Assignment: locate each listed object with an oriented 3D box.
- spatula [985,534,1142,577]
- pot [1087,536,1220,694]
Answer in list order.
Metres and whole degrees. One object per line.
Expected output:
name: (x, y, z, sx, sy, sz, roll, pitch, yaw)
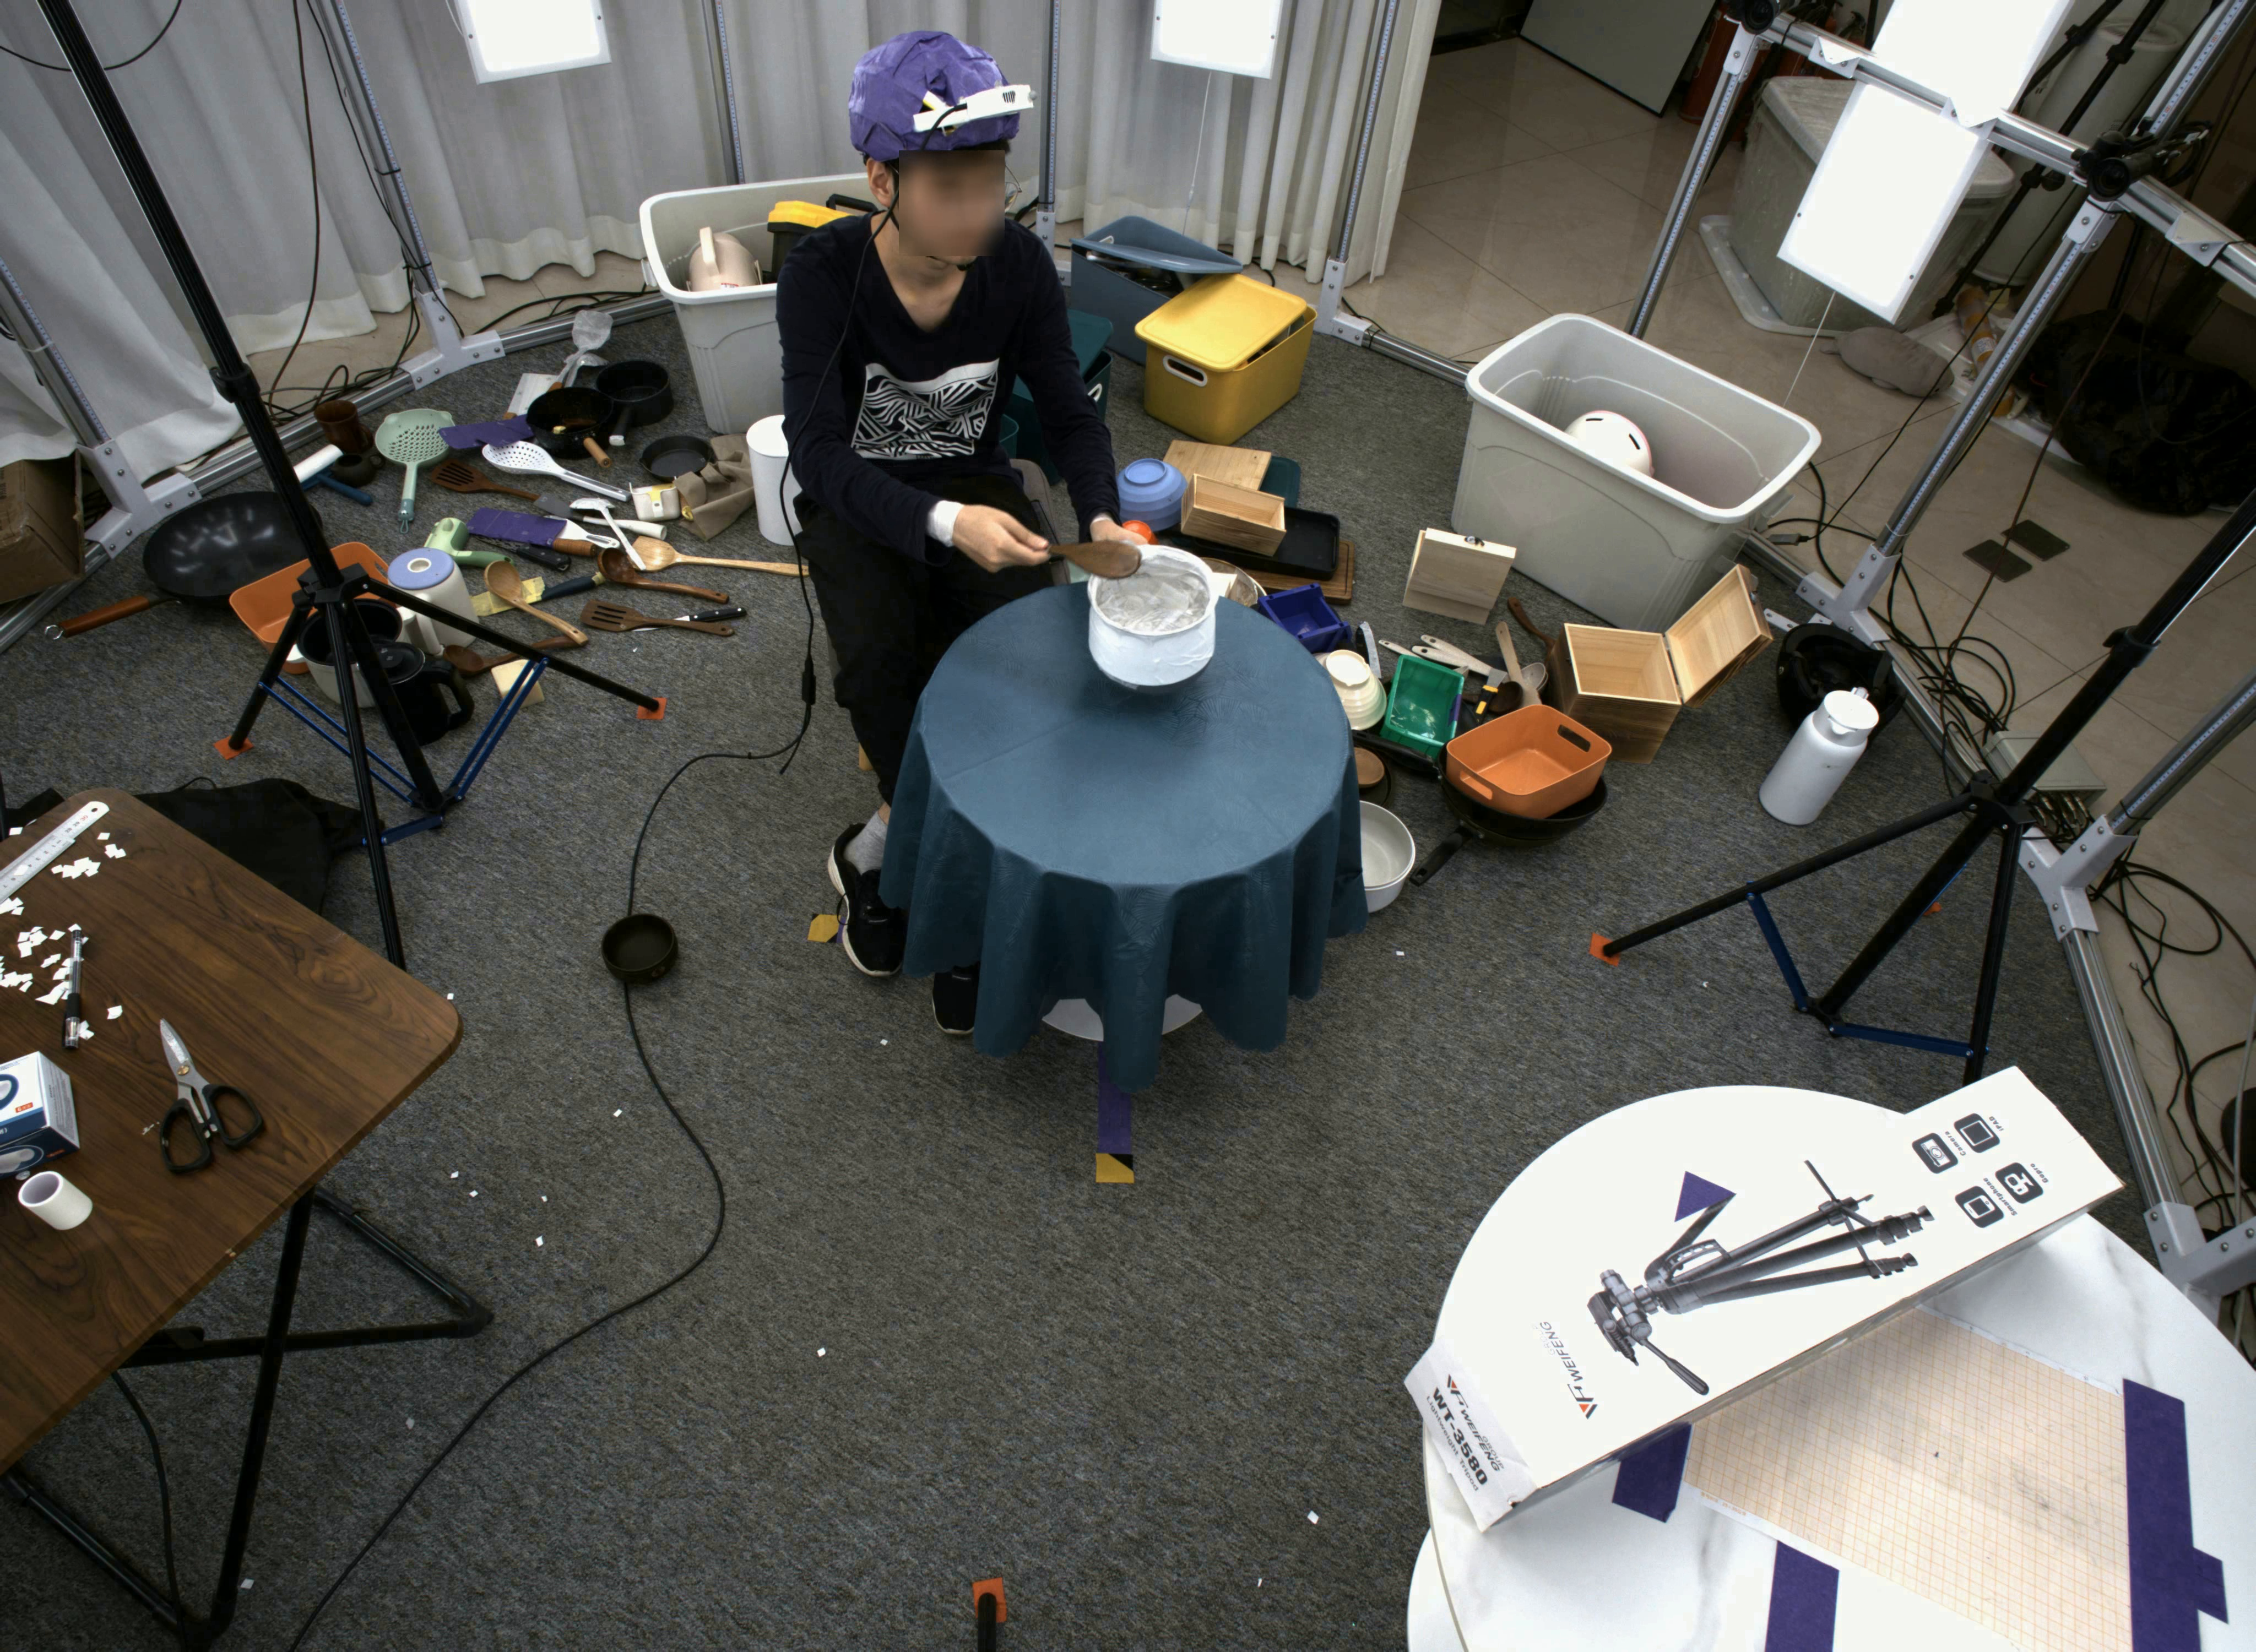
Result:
spatula: (-0.085, -0.362, 1.689, 0.216, 0.009, 0.073, 12, 50, 15)
pot: (0.022, -0.302, 1.788, 0.179, 0.133, 0.239, -15, 54, -14)
